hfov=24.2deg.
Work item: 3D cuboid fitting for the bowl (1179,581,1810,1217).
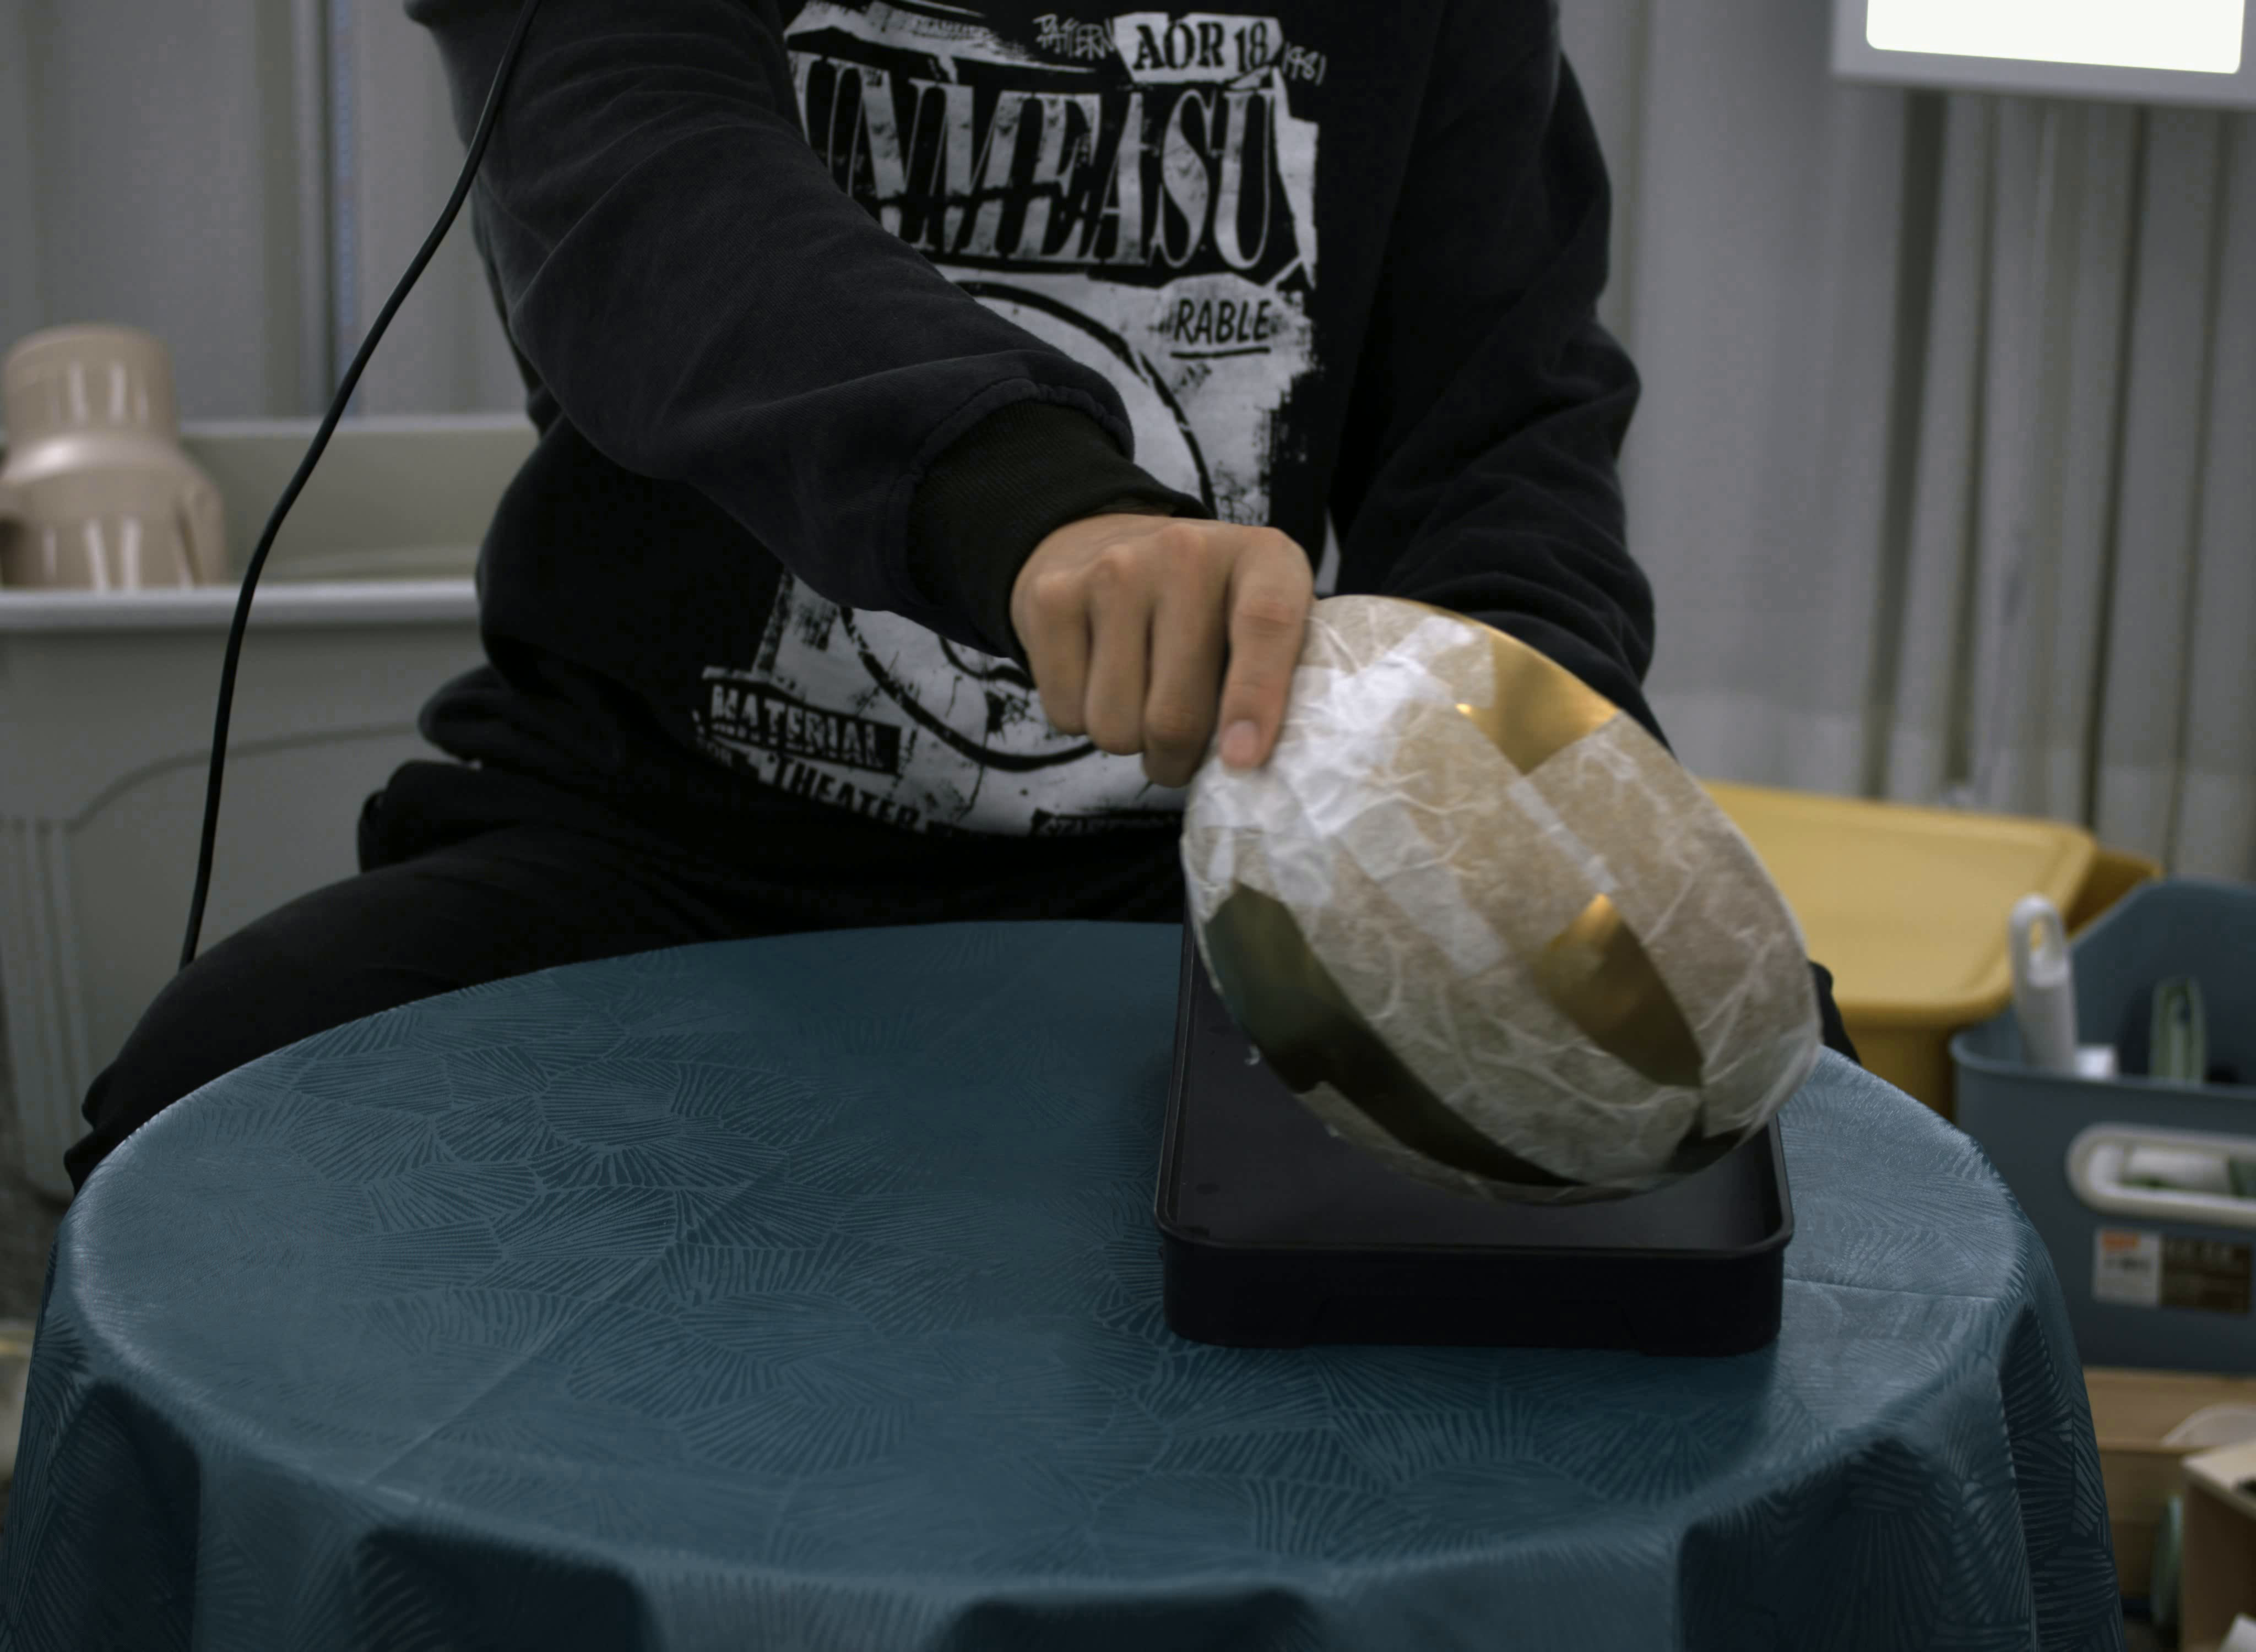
[{"bbox_3d":[0.084,0.040,1.496,0.212,0.218,0.094,18,55,45],"label":"bowl"}]

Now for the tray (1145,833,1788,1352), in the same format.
[{"bbox_3d":[0.105,0.076,1.631,0.183,0.037,0.316,0,22,4],"label":"tray"}]
